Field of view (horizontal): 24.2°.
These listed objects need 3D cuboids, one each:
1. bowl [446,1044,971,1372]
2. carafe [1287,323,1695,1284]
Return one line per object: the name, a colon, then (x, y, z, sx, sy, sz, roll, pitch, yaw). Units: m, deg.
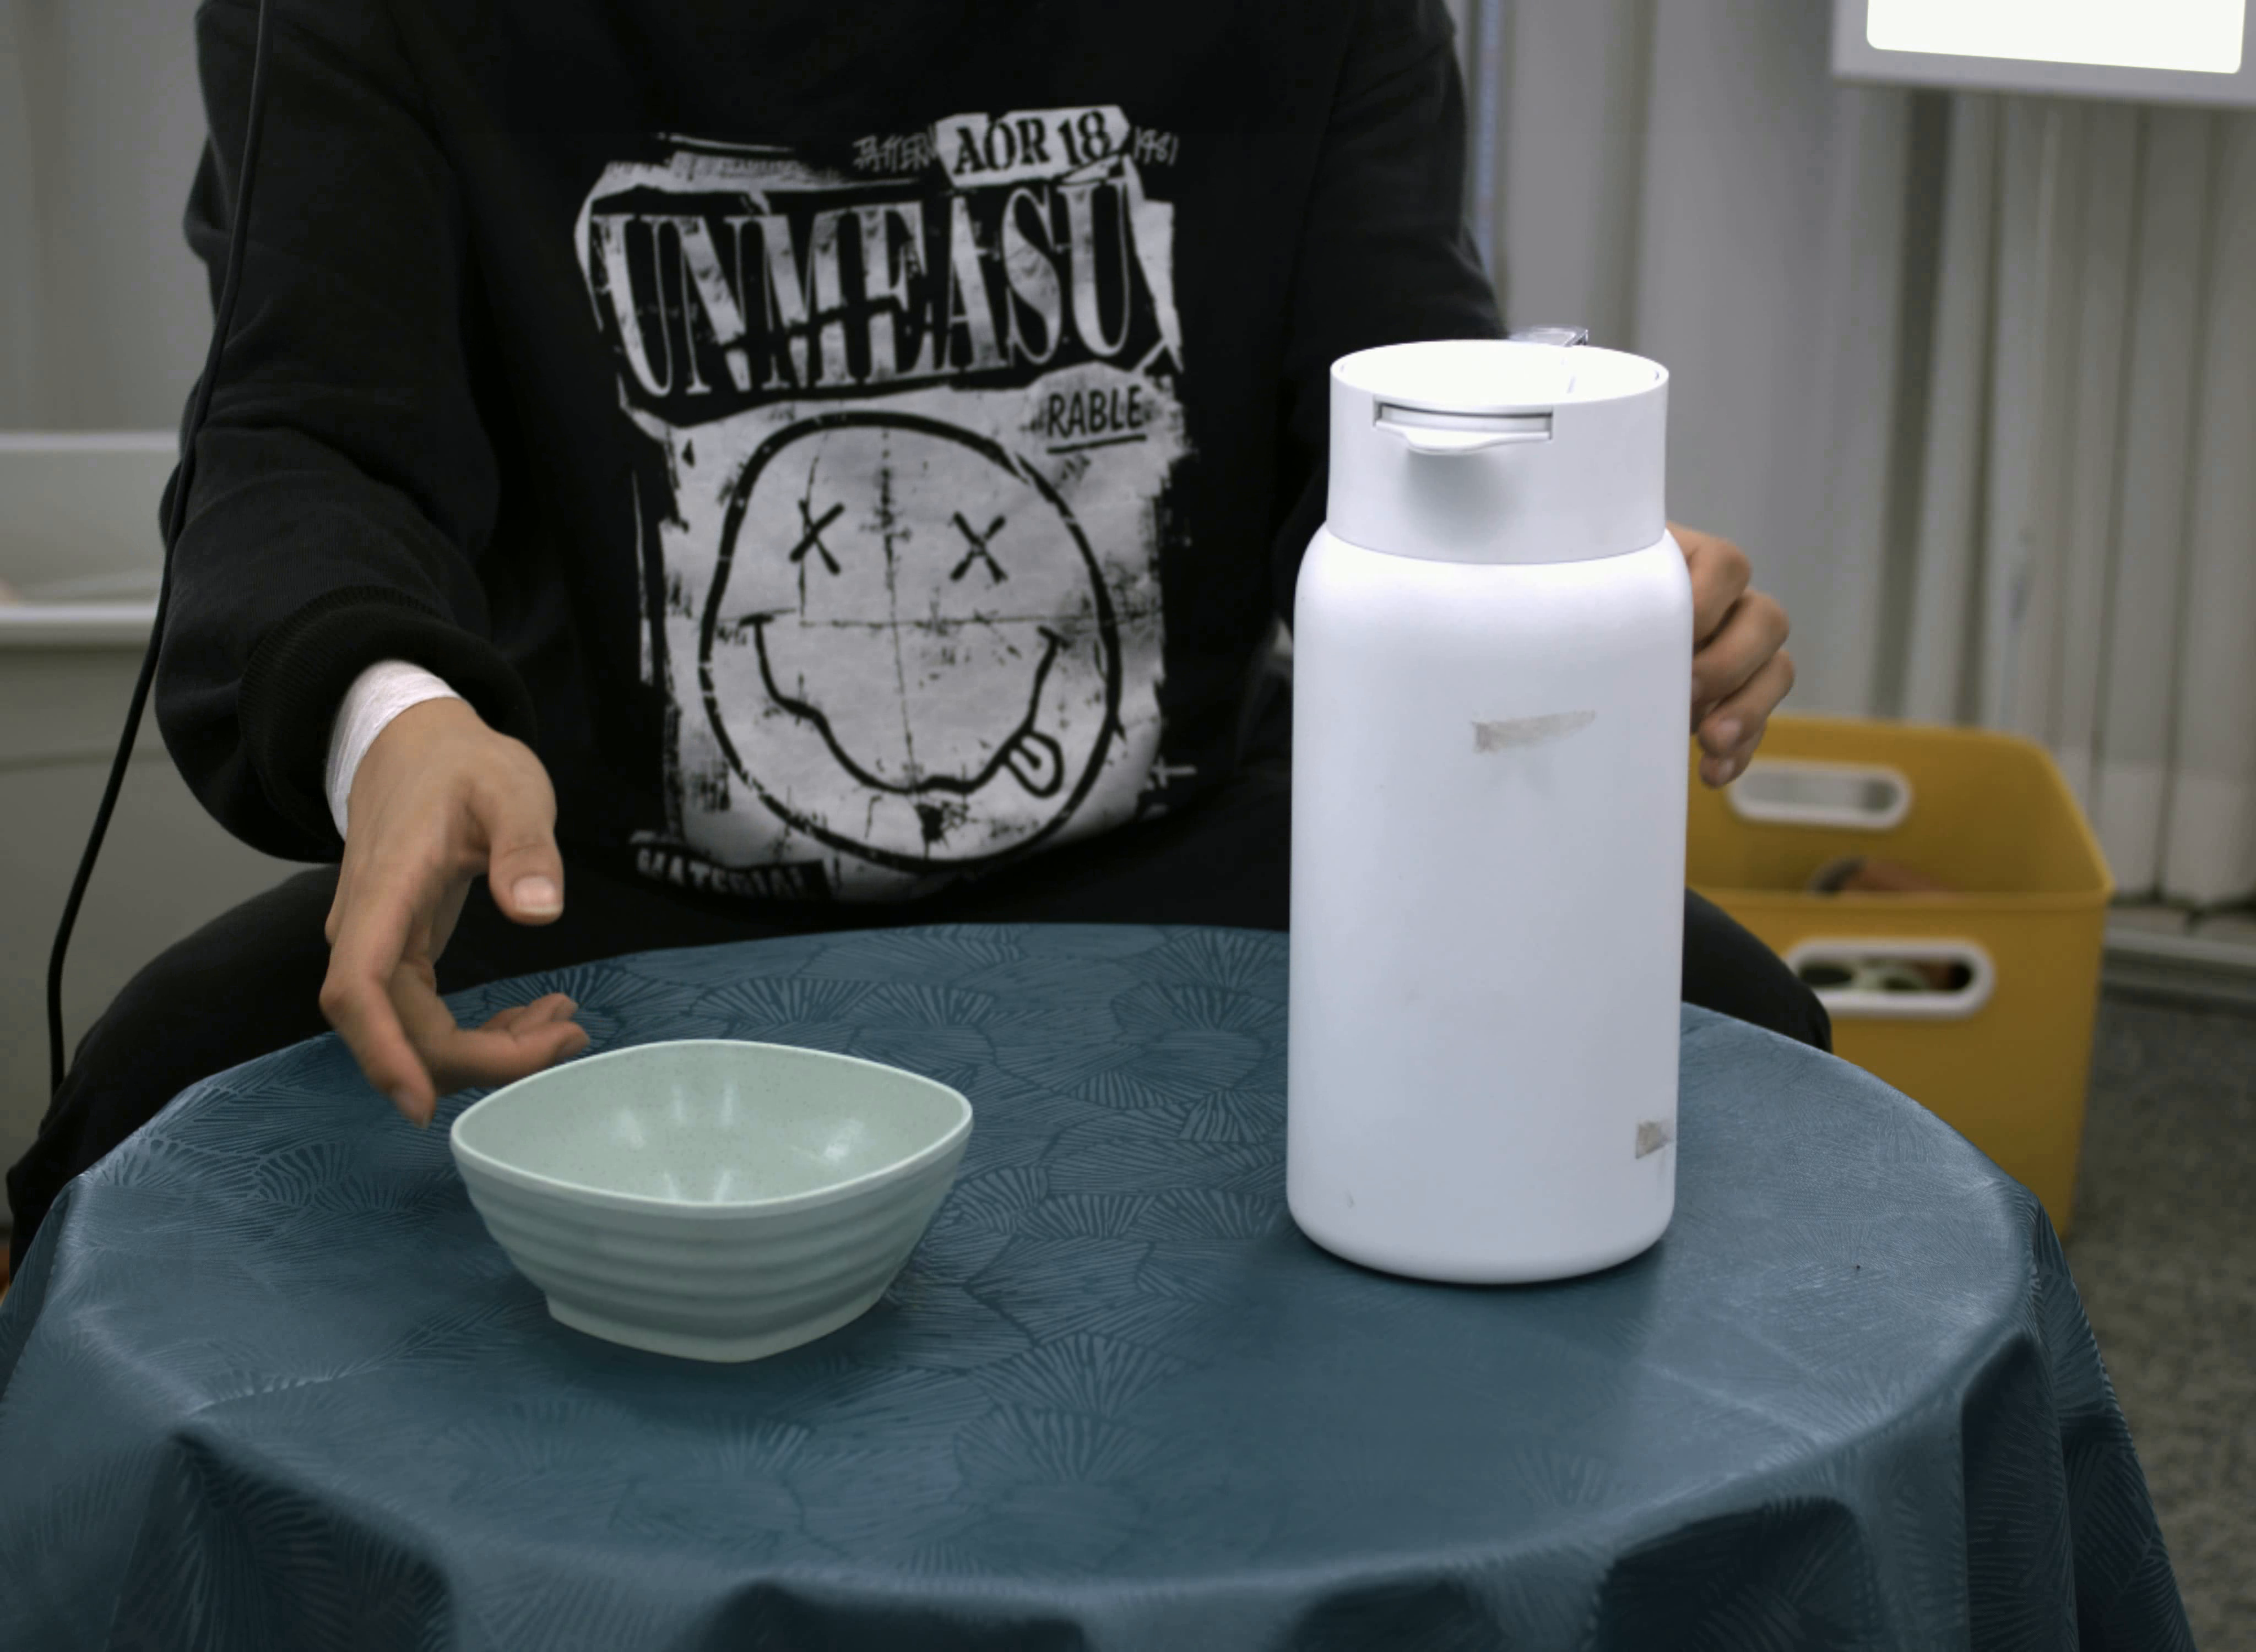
bowl: (-0.120, 0.113, 1.518, 0.151, 0.059, 0.150, 1, 16, 0)
carafe: (0.111, -0.011, 1.571, 0.123, 0.271, 0.173, 3, 16, 16)
